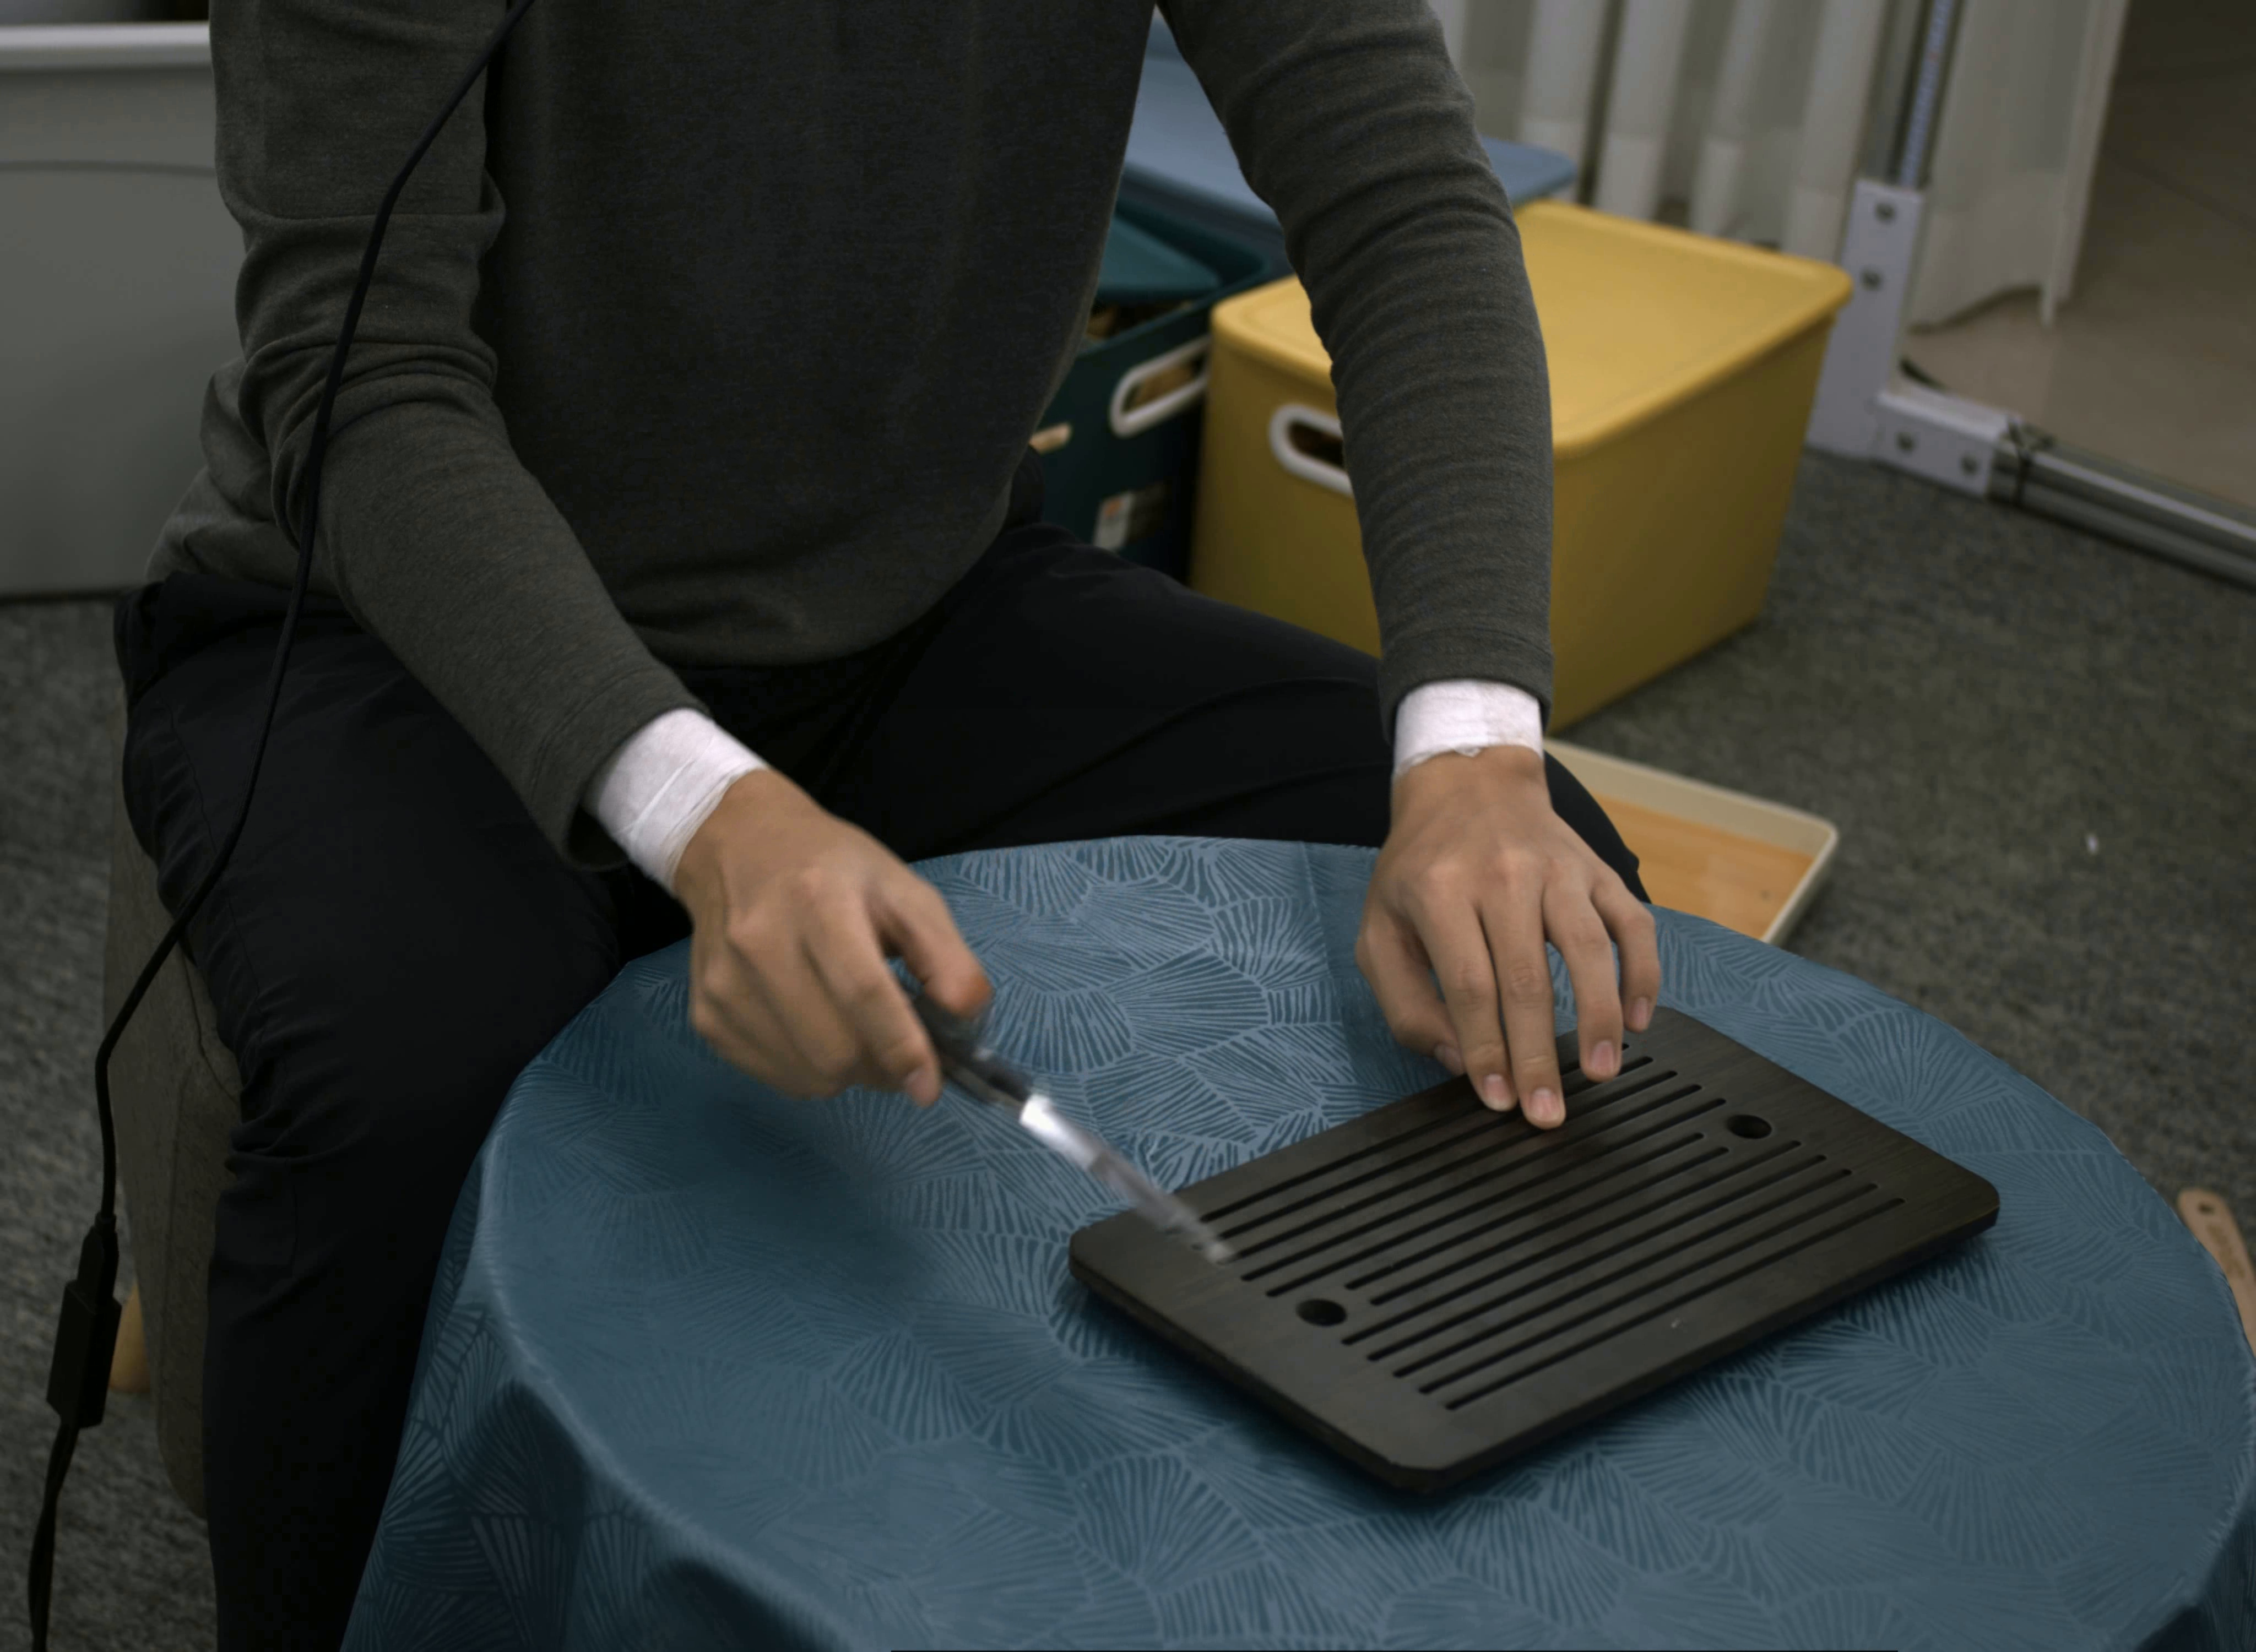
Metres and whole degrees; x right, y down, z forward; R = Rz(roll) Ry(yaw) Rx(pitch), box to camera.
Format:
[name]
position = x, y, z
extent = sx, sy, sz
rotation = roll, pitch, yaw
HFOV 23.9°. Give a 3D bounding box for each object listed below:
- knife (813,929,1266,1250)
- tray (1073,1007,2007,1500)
[knife]
position = -0.032, 0.085, 1.721
extent = 0.024, 0.016, 0.240
rotation = 5, 19, -42
[tray]
position = 0.141, 0.140, 1.786
extent = 0.304, 0.018, 0.171
rotation = -18, 35, -40
